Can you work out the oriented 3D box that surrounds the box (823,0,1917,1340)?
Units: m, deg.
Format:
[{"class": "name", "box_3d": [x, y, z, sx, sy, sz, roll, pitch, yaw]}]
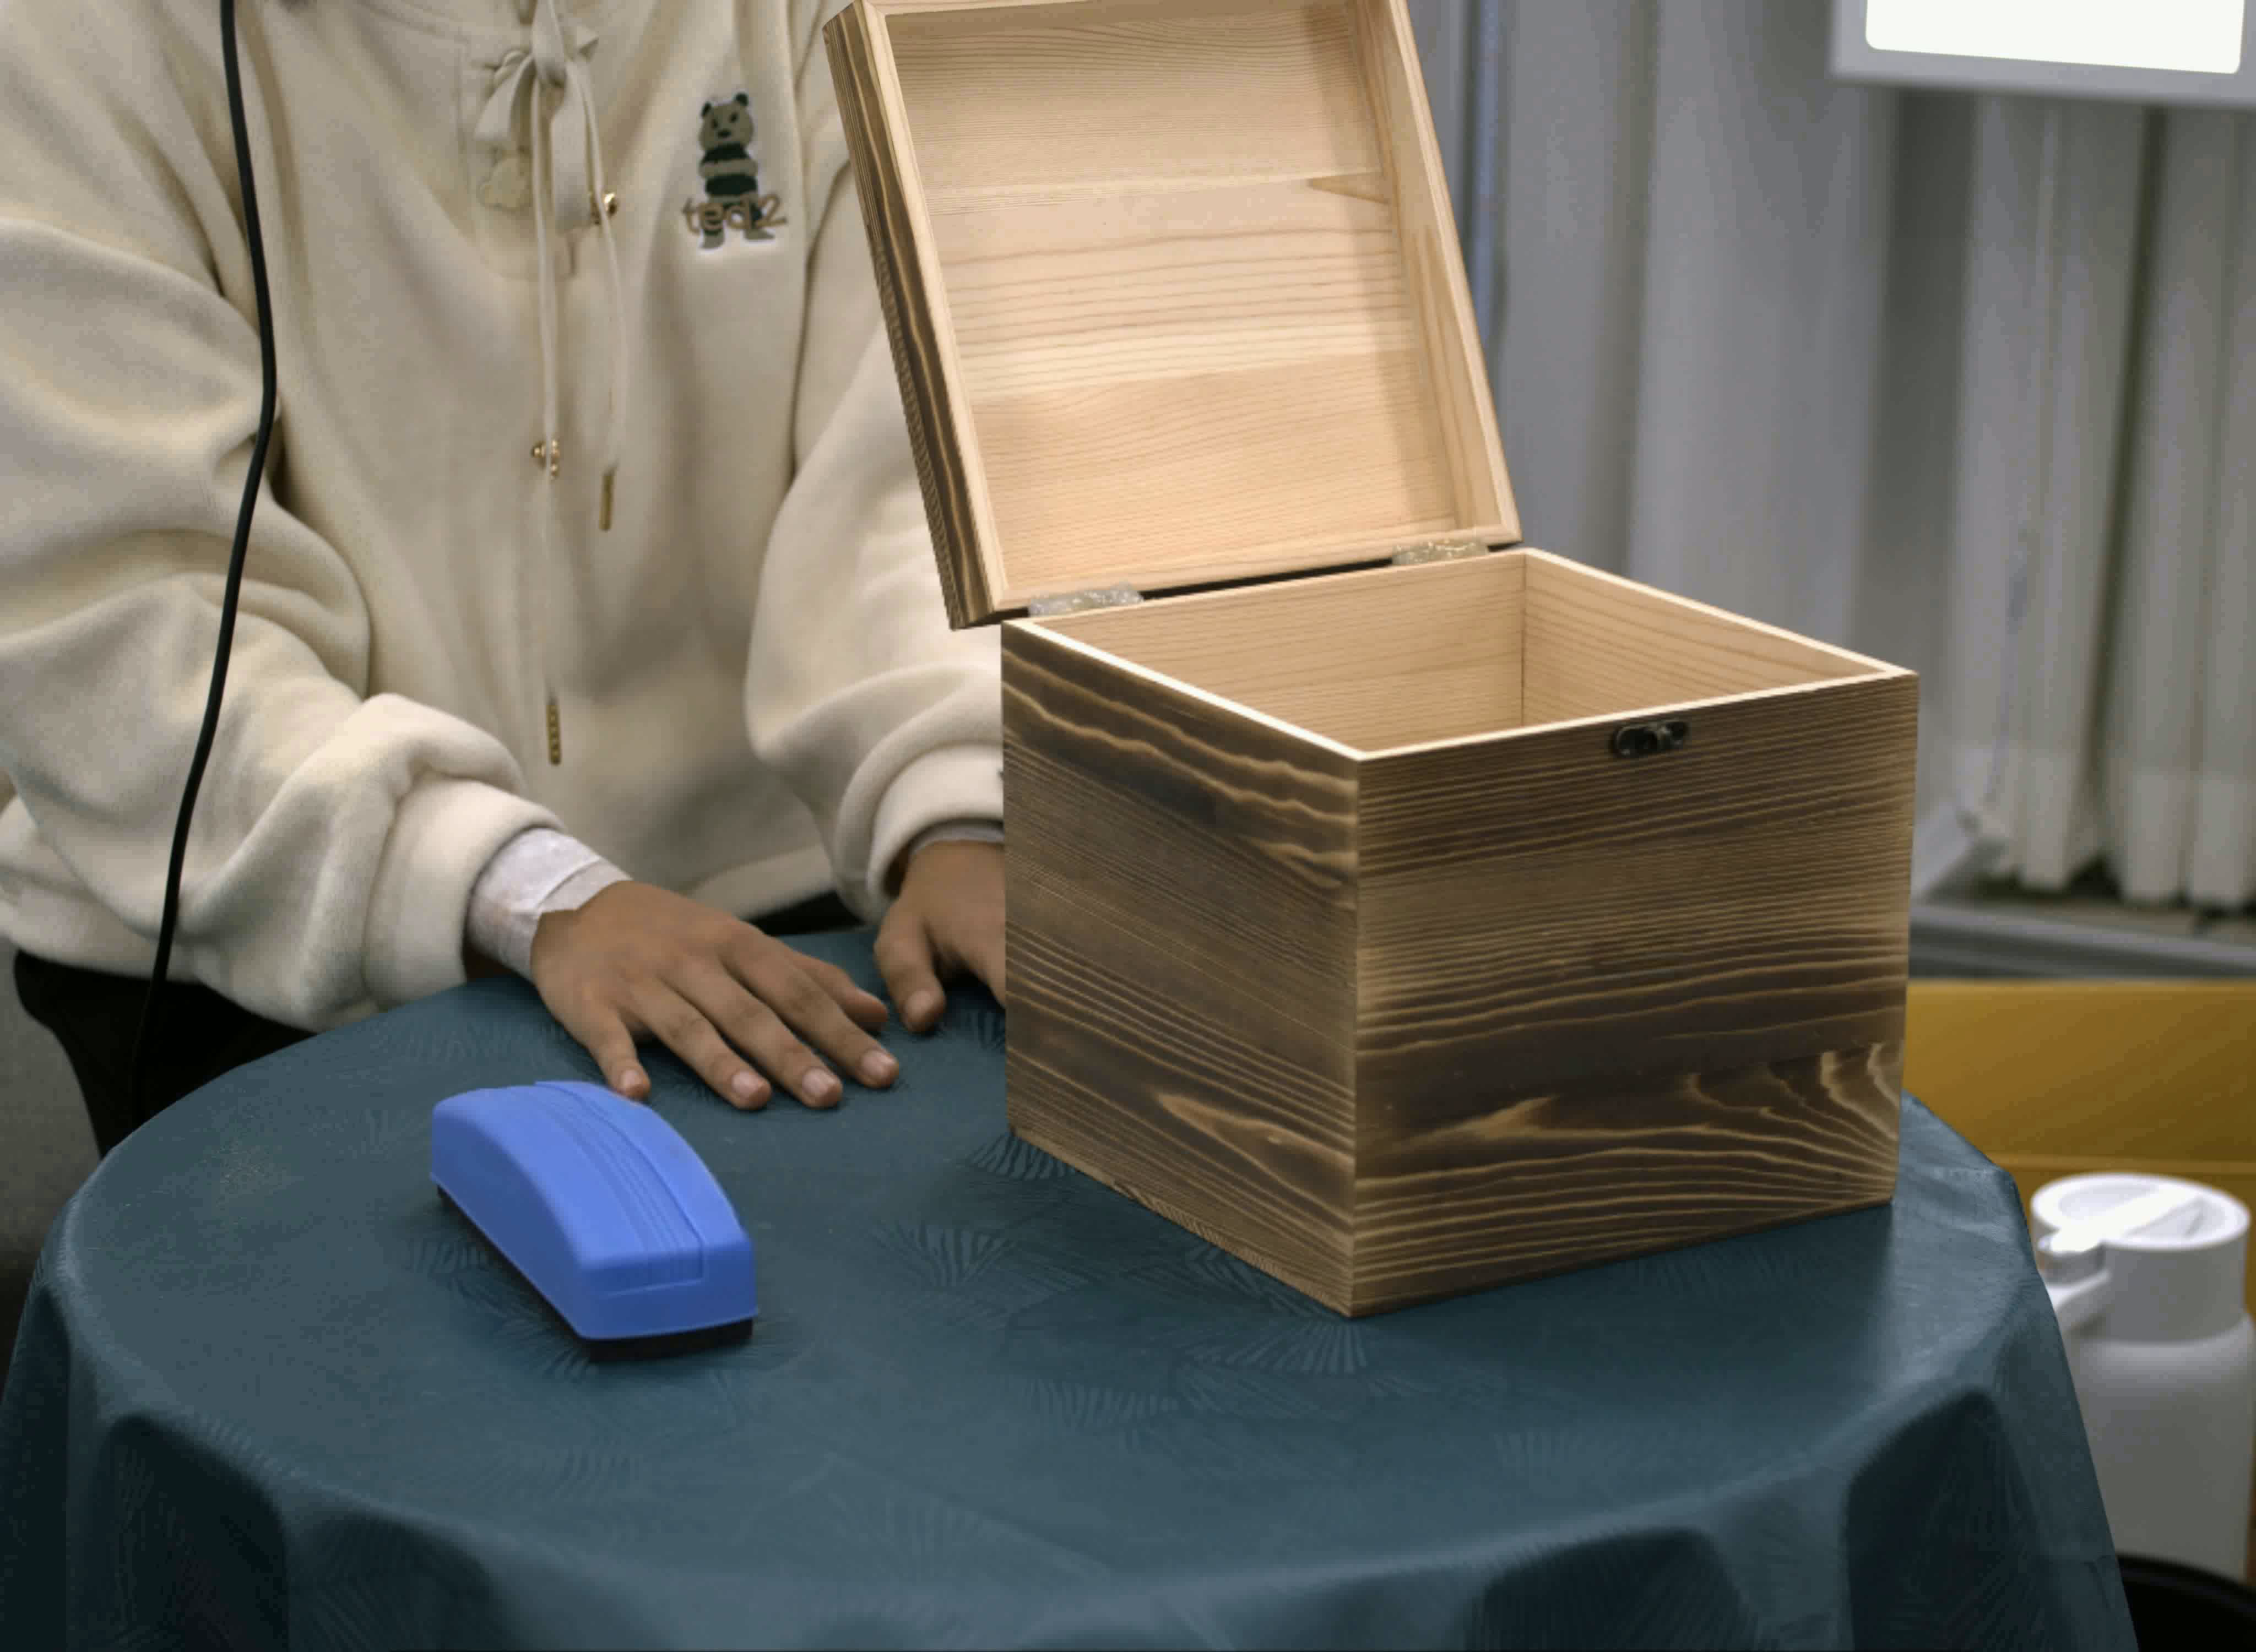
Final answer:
[{"class": "box", "box_3d": [0.070, -0.076, 1.636, 0.209, 0.378, 0.318, -10, 18, -30]}]

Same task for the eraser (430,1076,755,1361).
[{"class": "eraser", "box_3d": [-0.159, 0.108, 1.543, 0.054, 0.048, 0.160, -7, 18, -23]}]
